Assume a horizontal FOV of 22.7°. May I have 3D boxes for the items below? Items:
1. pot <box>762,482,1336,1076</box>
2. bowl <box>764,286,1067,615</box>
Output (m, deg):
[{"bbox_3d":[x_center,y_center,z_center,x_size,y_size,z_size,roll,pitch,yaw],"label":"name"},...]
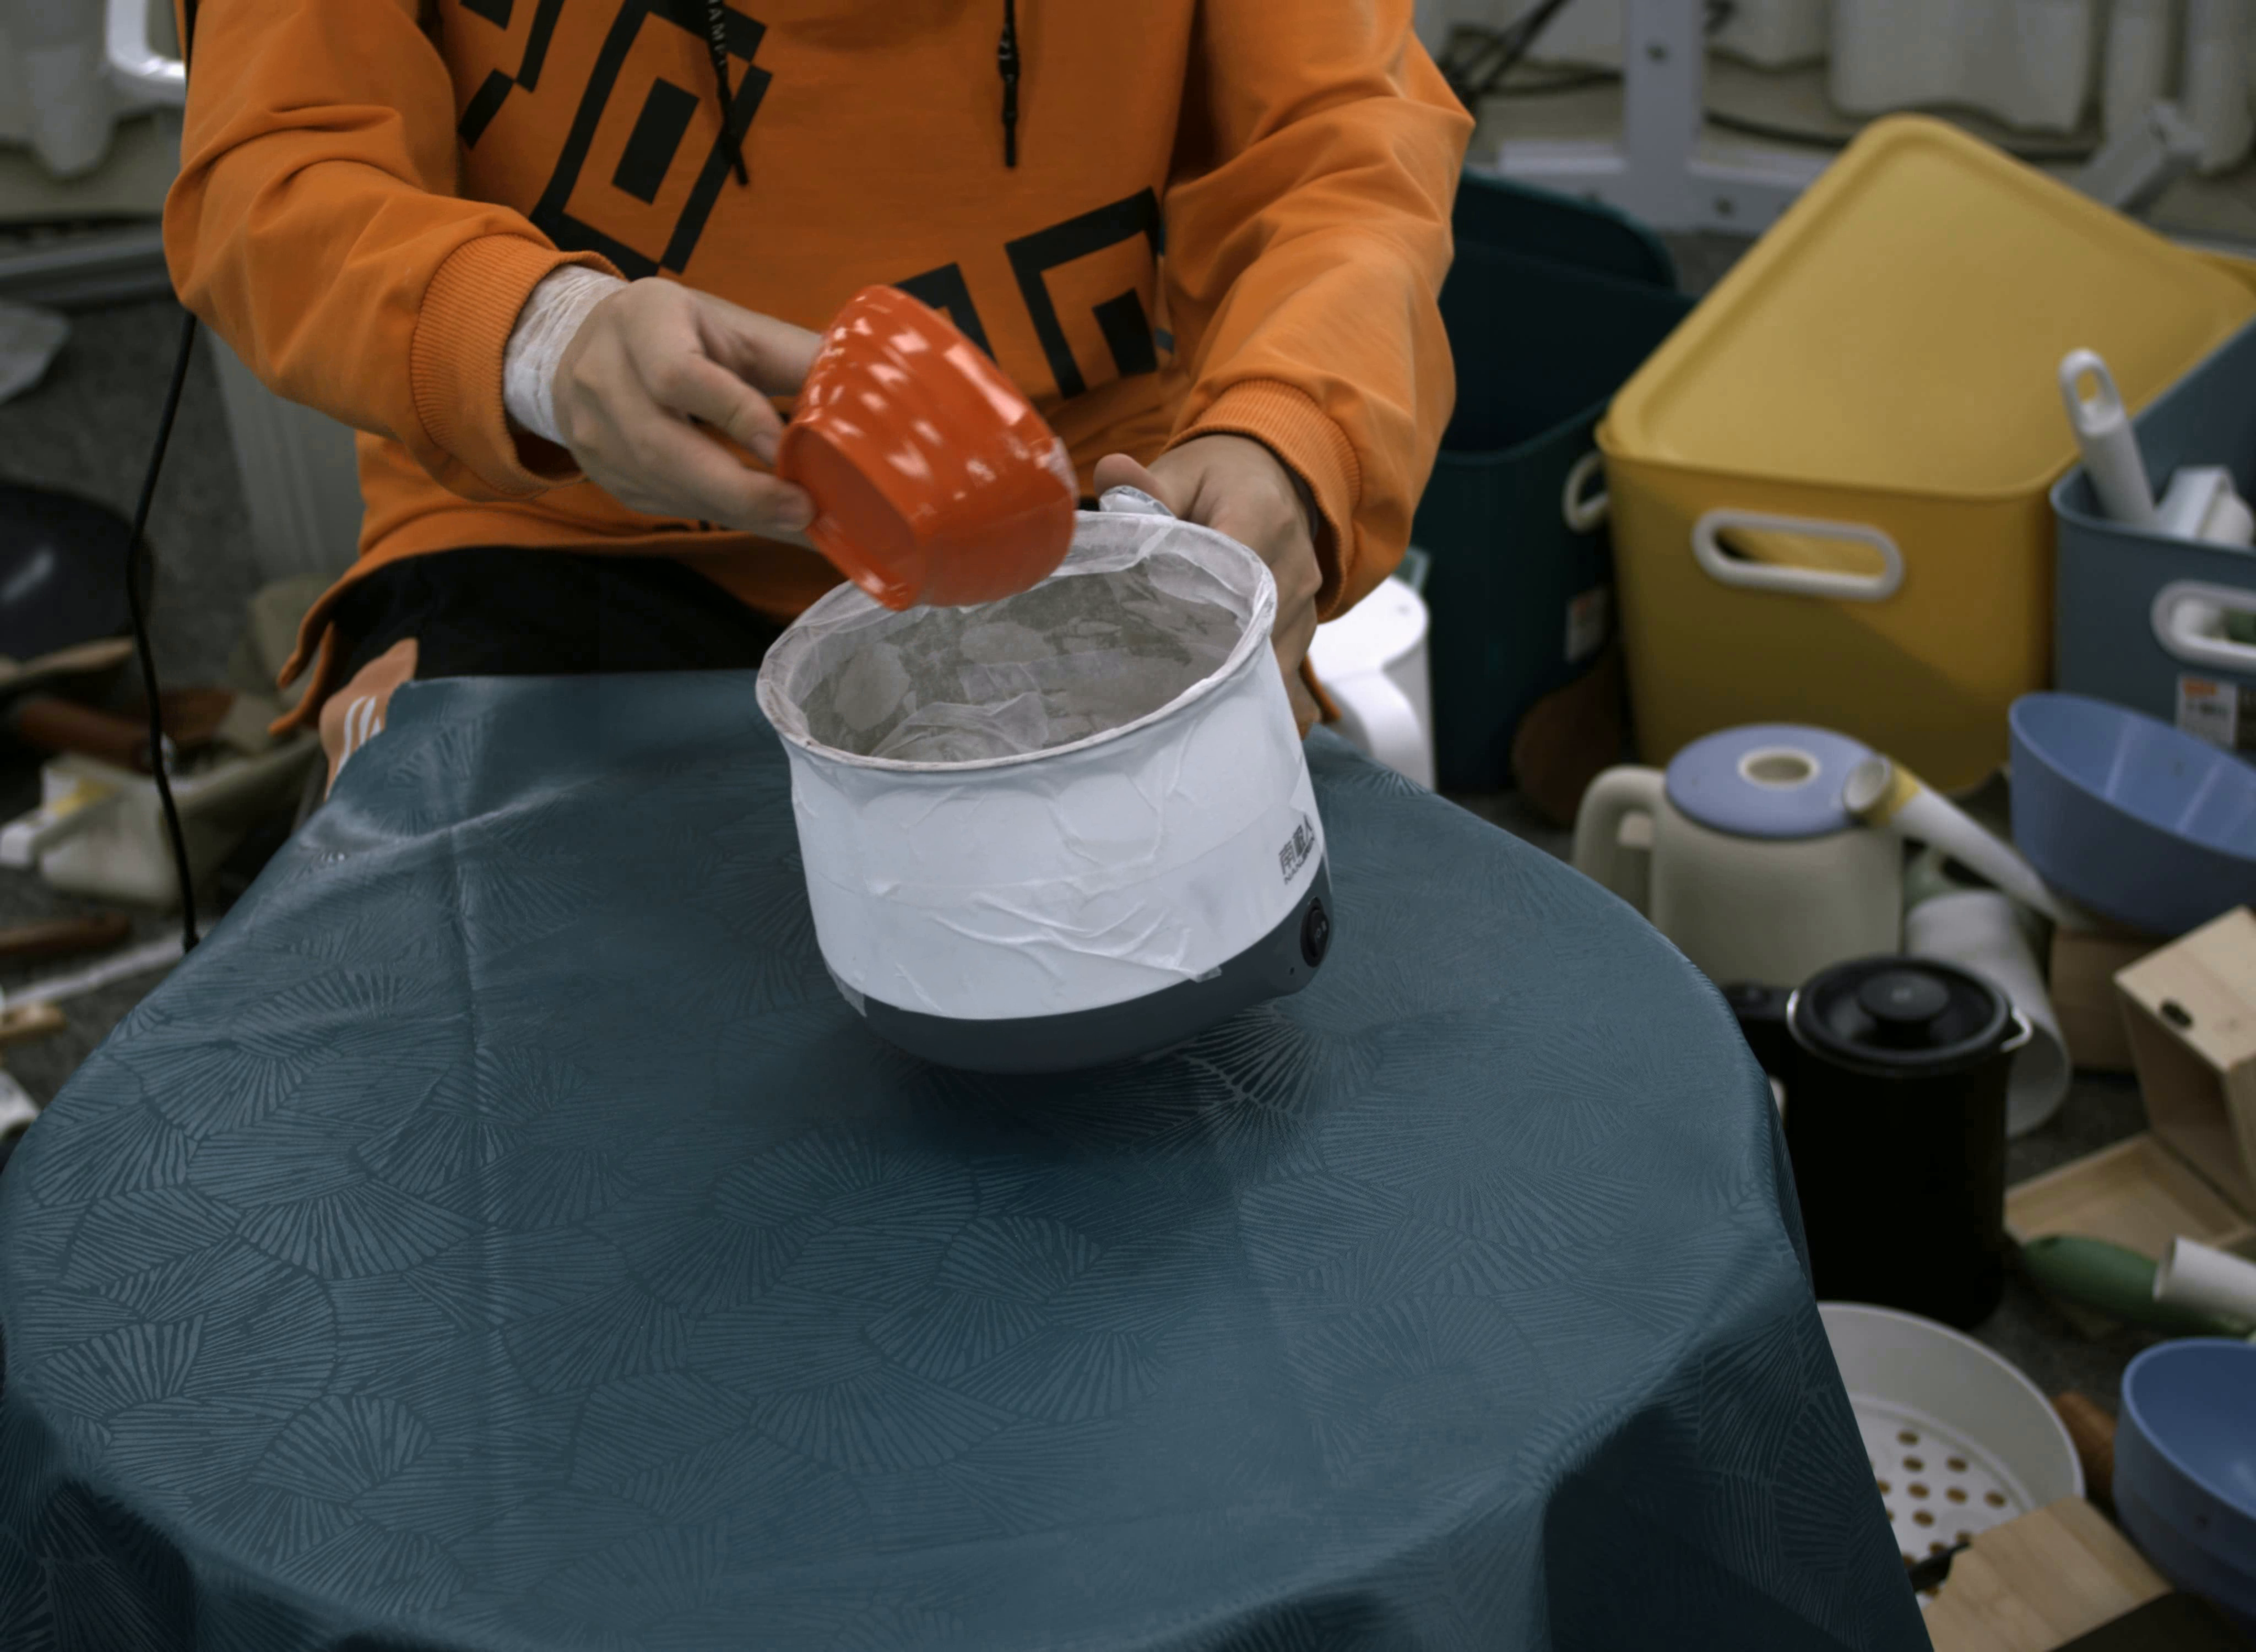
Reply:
[{"bbox_3d":[-0.016,-0.023,1.927,0.177,0.135,0.238,1,30,21],"label":"pot"},{"bbox_3d":[-0.077,-0.113,1.841,0.052,0.117,0.119,-41,43,-25],"label":"bowl"}]
